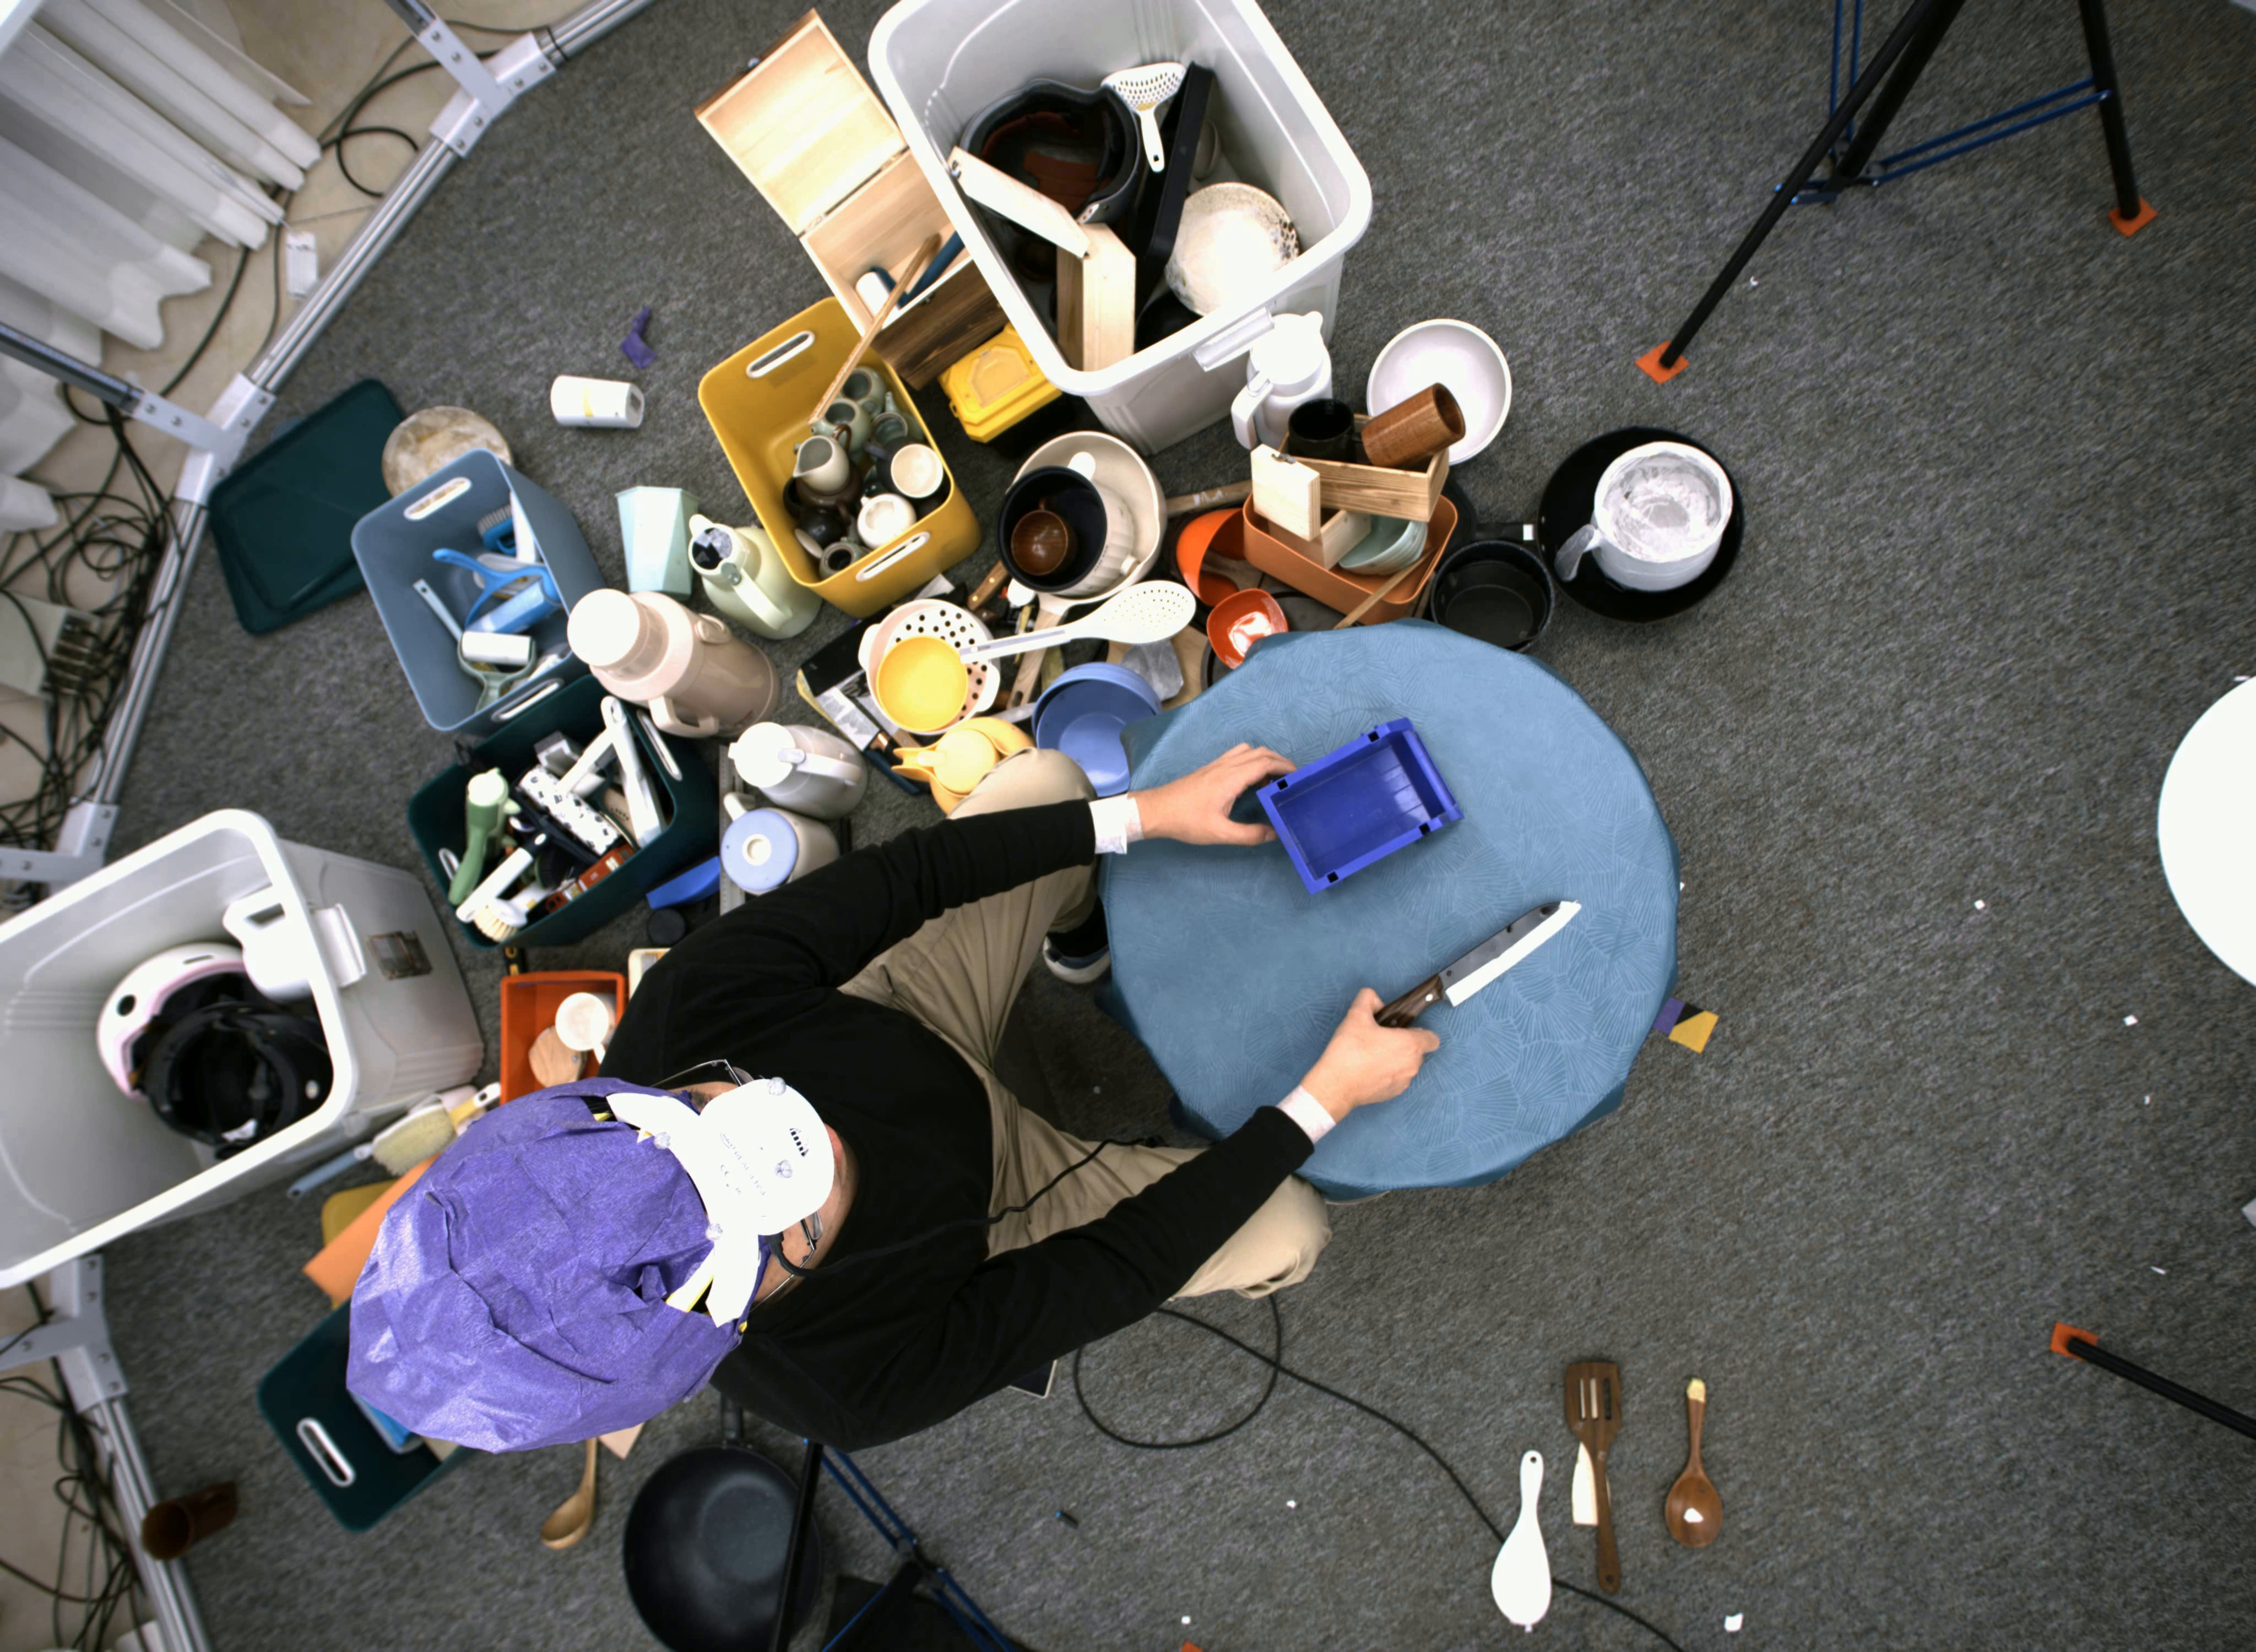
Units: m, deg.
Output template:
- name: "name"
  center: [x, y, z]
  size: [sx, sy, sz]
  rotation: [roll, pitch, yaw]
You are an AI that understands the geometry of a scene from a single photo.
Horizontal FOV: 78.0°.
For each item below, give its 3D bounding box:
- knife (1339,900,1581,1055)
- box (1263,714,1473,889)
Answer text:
- name: "knife"
  center: [0.345, 0.152, 1.424]
  size: [0.290, 0.020, 0.051]
  rotation: [-32, 114, 2]
- name: "box"
  center: [0.249, -0.029, 1.428]
  size: [0.180, 0.082, 0.123]
  rotation: [-27, 81, 10]
